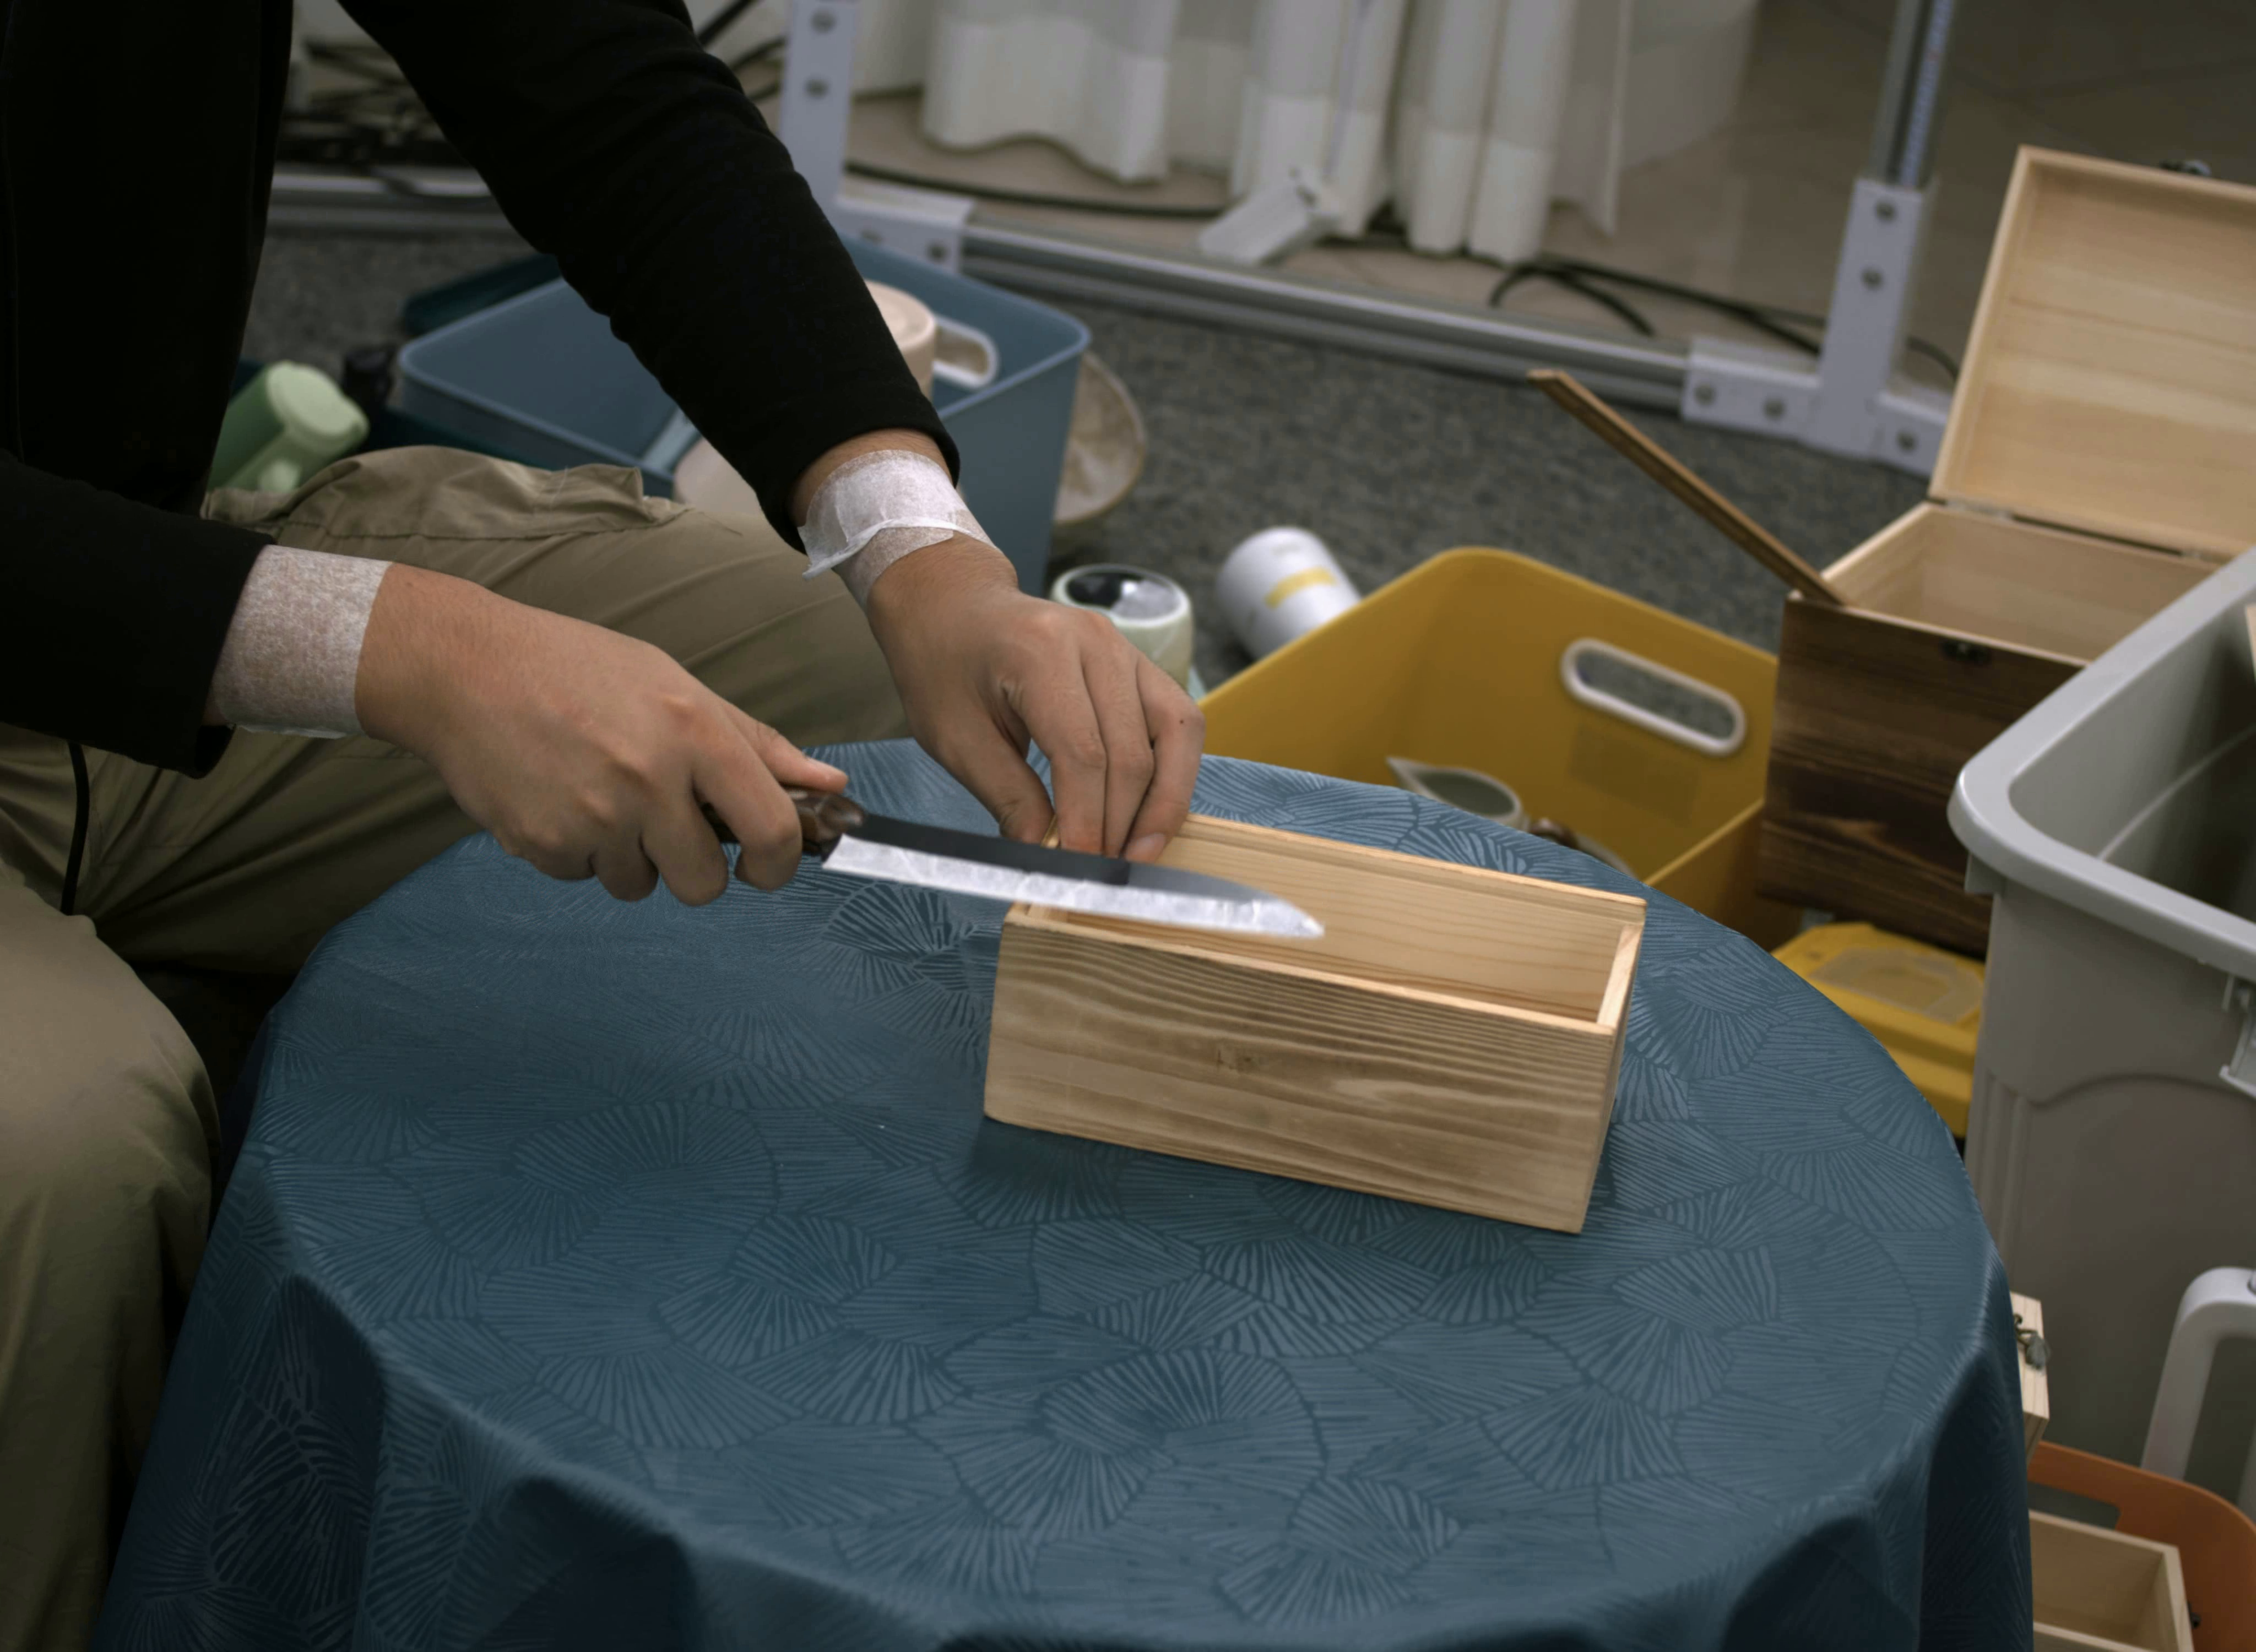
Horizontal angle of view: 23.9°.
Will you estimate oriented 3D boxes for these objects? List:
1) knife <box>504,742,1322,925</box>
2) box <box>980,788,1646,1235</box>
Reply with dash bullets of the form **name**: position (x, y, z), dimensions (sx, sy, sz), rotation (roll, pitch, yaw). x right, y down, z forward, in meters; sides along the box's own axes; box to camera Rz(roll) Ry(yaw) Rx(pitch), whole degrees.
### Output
- **knife**: position (-0.075, 0.005, 1.773), dimensions (0.289, 0.020, 0.050), rotation (10, 26, 12)
- **box**: position (0.065, 0.063, 1.848), dimensions (0.211, 0.080, 0.108), rotation (11, 26, 8)
